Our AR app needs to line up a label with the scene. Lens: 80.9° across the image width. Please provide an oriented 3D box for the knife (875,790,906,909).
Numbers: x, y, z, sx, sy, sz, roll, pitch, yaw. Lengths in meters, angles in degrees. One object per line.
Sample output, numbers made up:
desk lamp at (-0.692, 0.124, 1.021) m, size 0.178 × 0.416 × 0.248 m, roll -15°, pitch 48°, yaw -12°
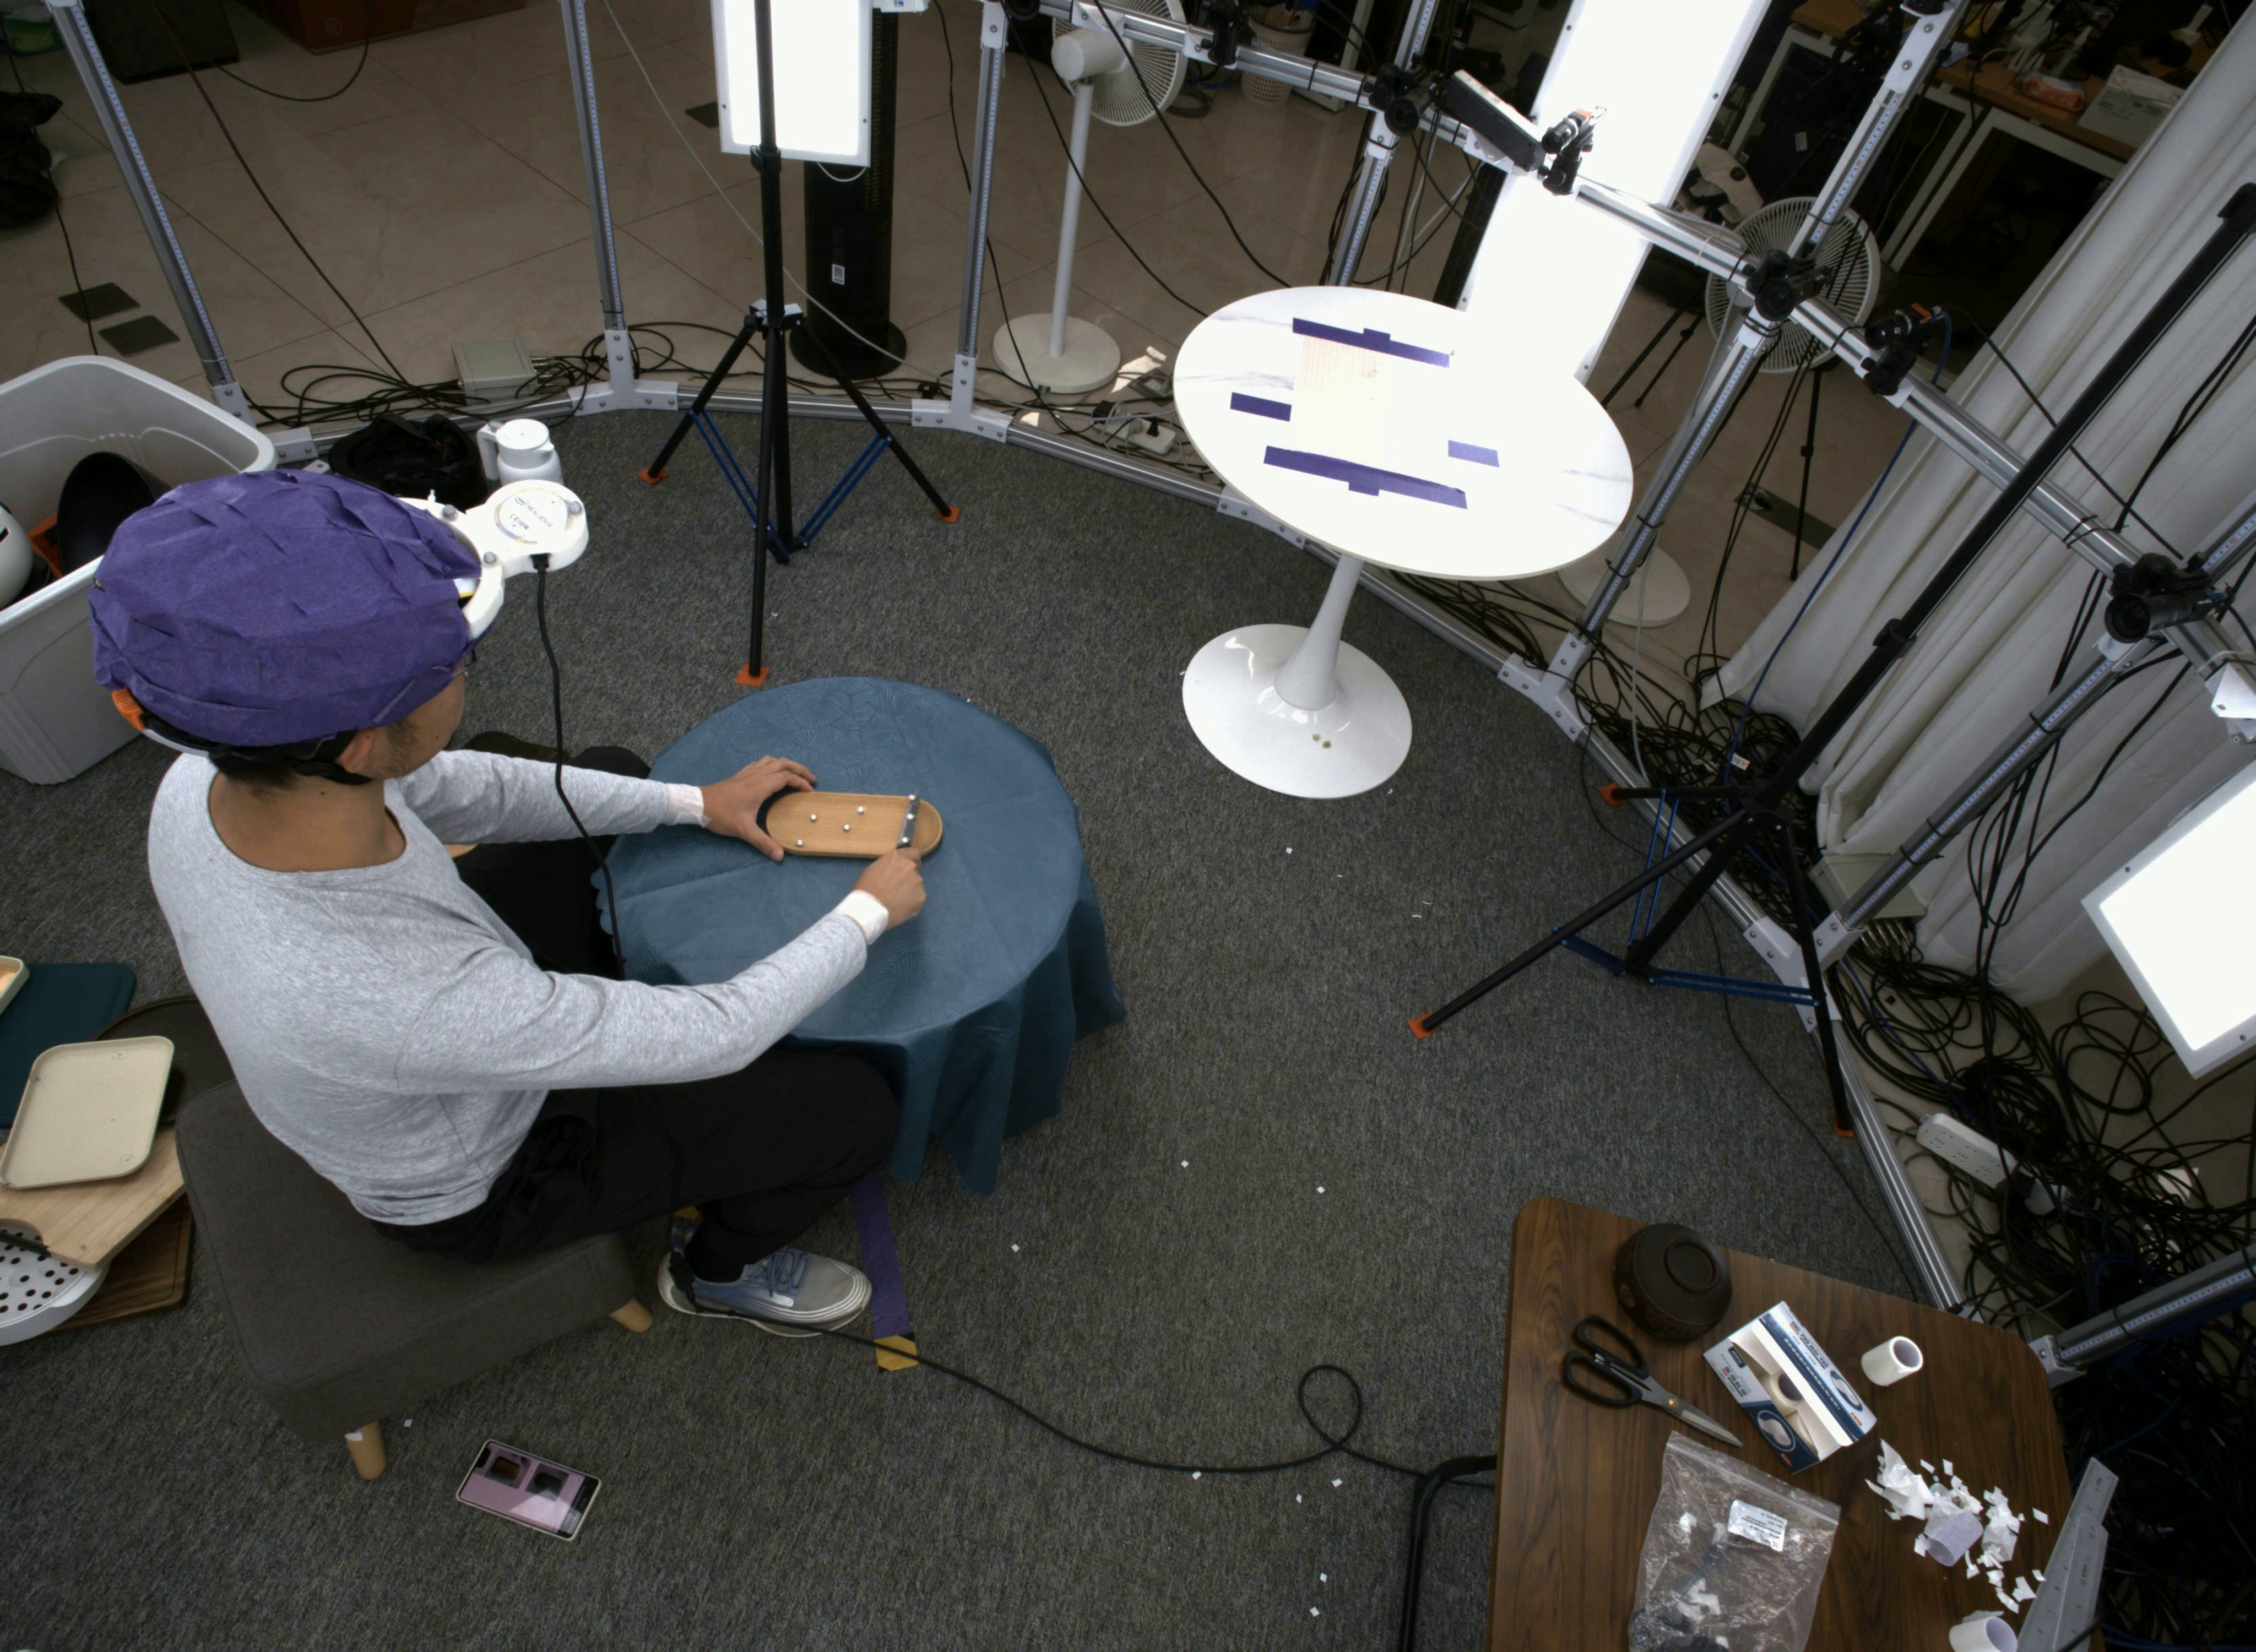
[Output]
knife at (-0.301, 0.022, 1.673) m, size 0.024 × 0.017 × 0.233 m, roll -19°, pitch 37°, yaw 13°

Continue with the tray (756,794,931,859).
tray at (-0.379, 0.000, 1.737) m, size 0.232 × 0.020 × 0.099 m, roll 1°, pitch 55°, yaw -15°
